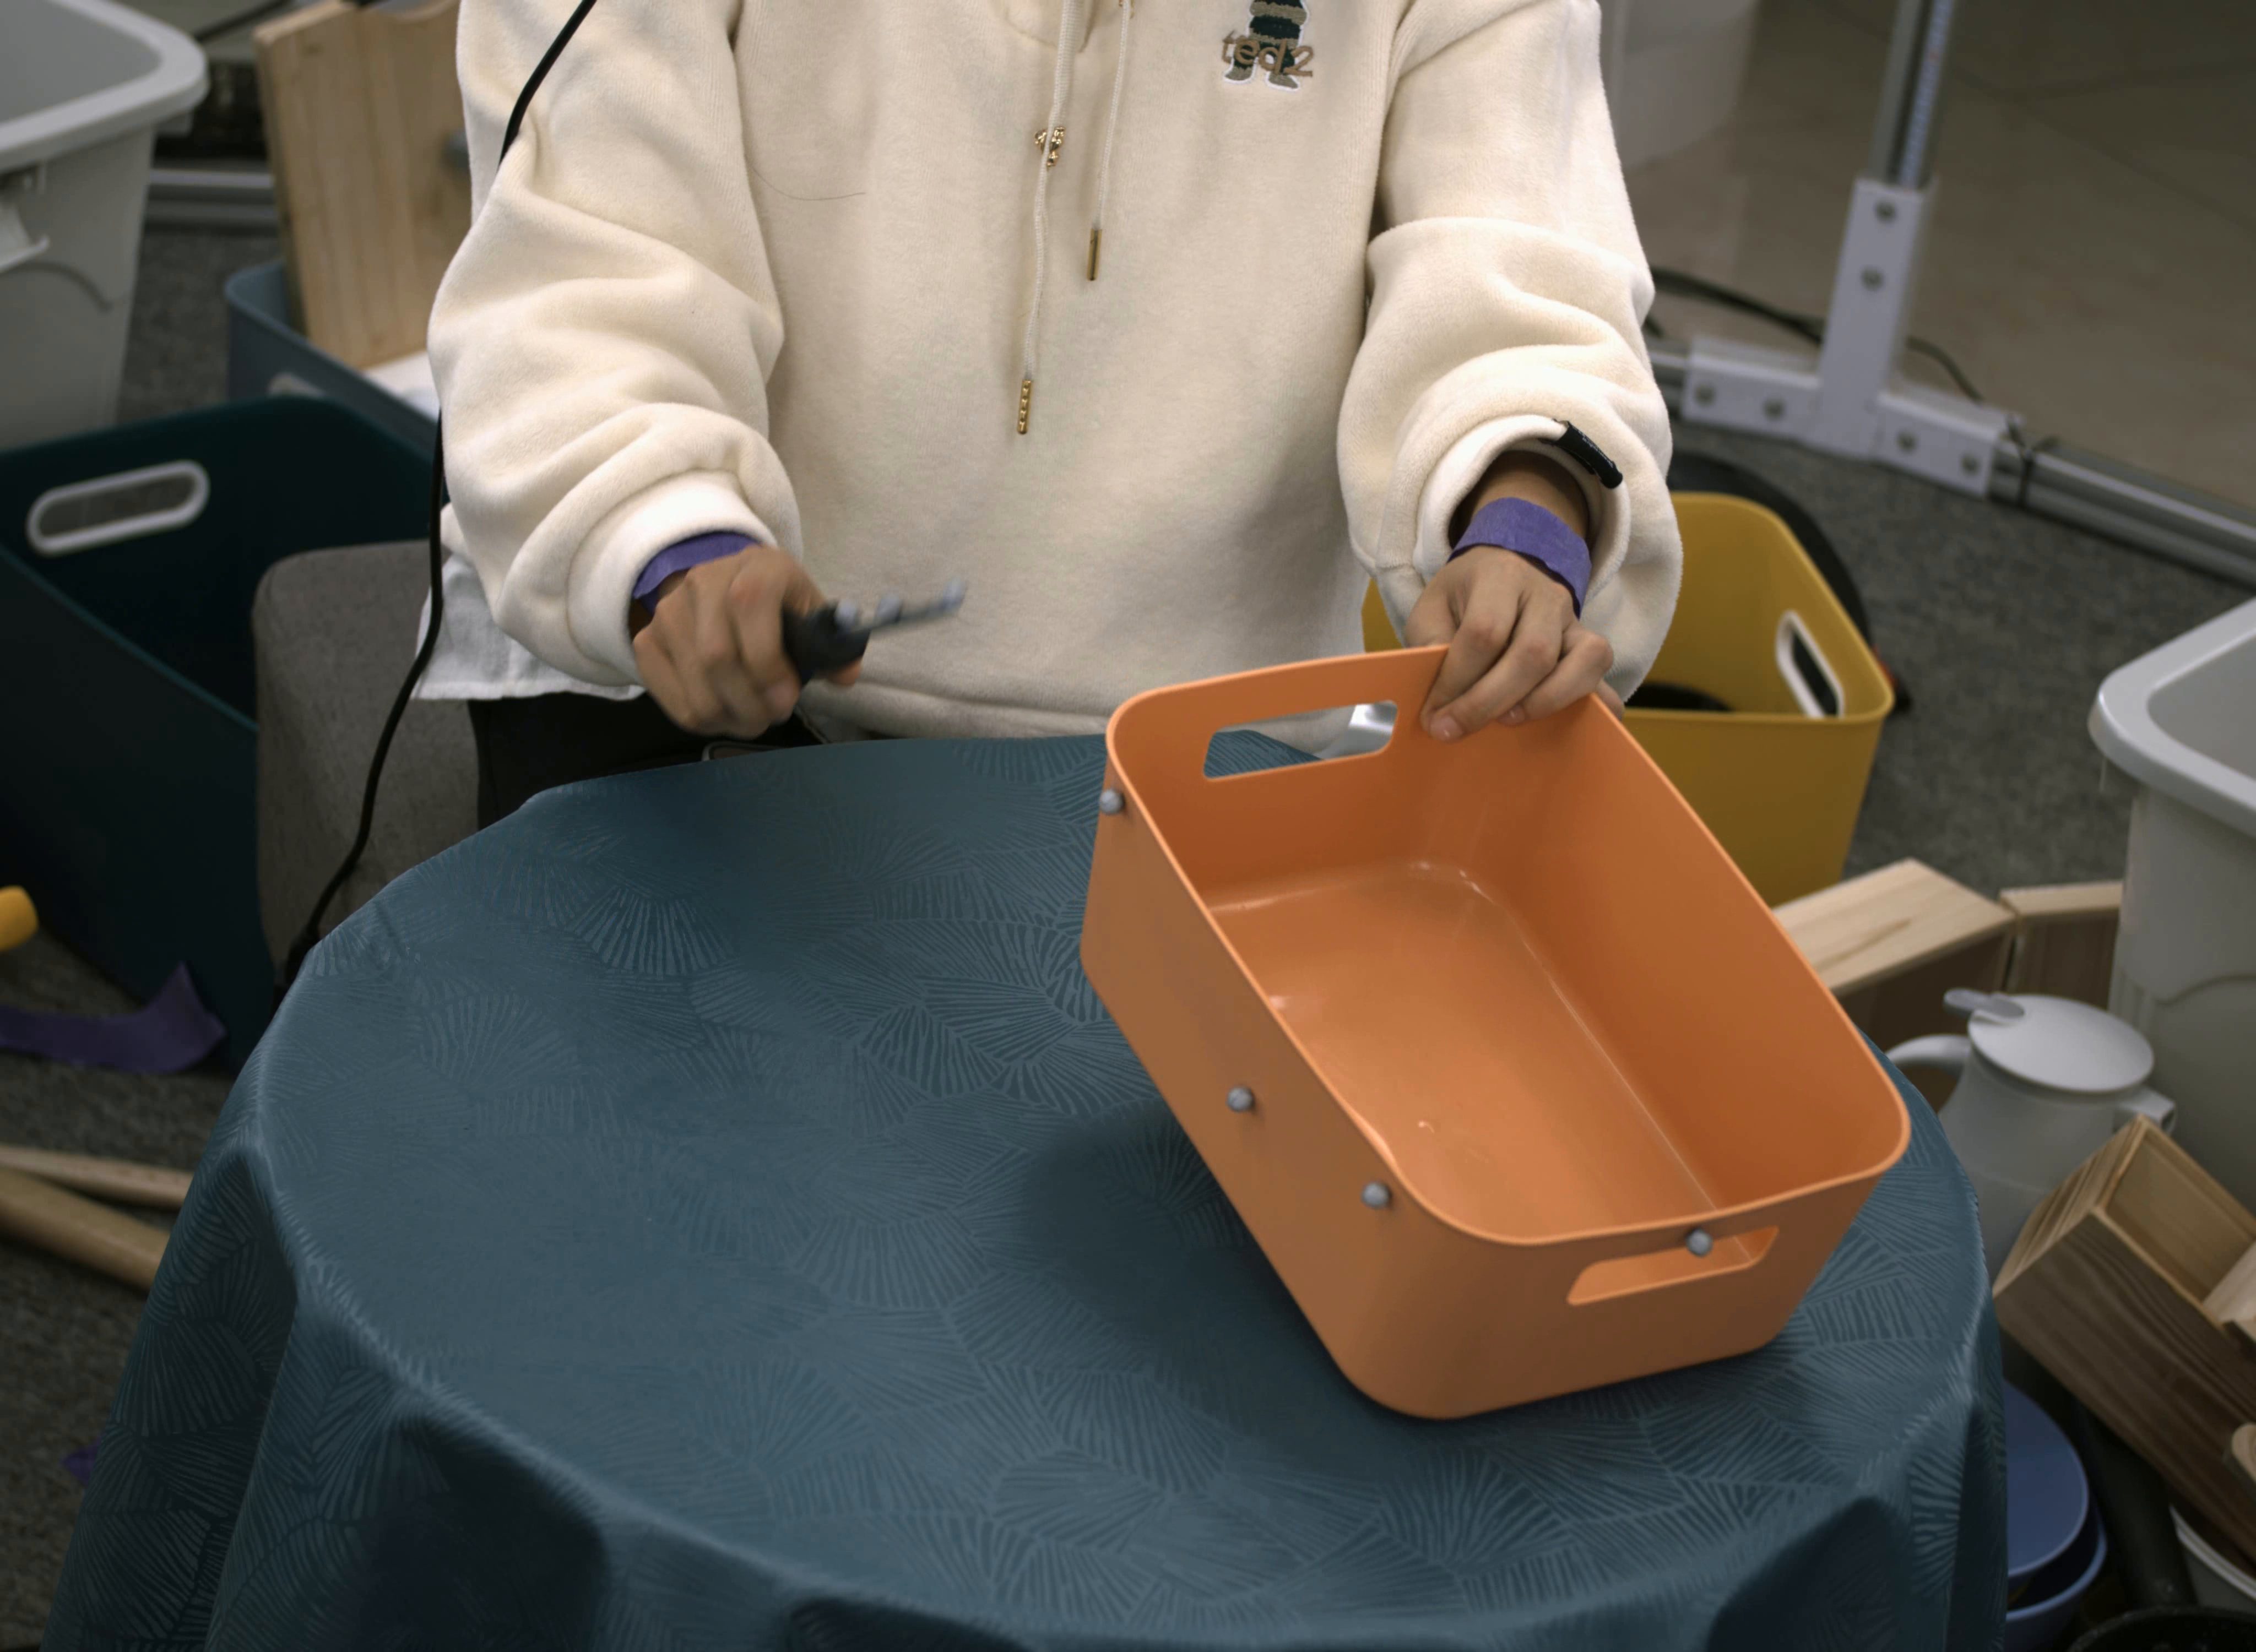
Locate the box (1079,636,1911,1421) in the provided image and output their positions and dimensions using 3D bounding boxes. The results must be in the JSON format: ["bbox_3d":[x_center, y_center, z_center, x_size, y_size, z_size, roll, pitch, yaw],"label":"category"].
[{"bbox_3d":[0.112,0.067,1.767,0.198,0.102,0.276,-10,46,-28],"label":"box"}]

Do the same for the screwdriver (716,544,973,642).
[{"bbox_3d":[-0.094,-0.082,1.844,0.031,0.031,0.199,-9,3,-29],"label":"screwdriver"}]
